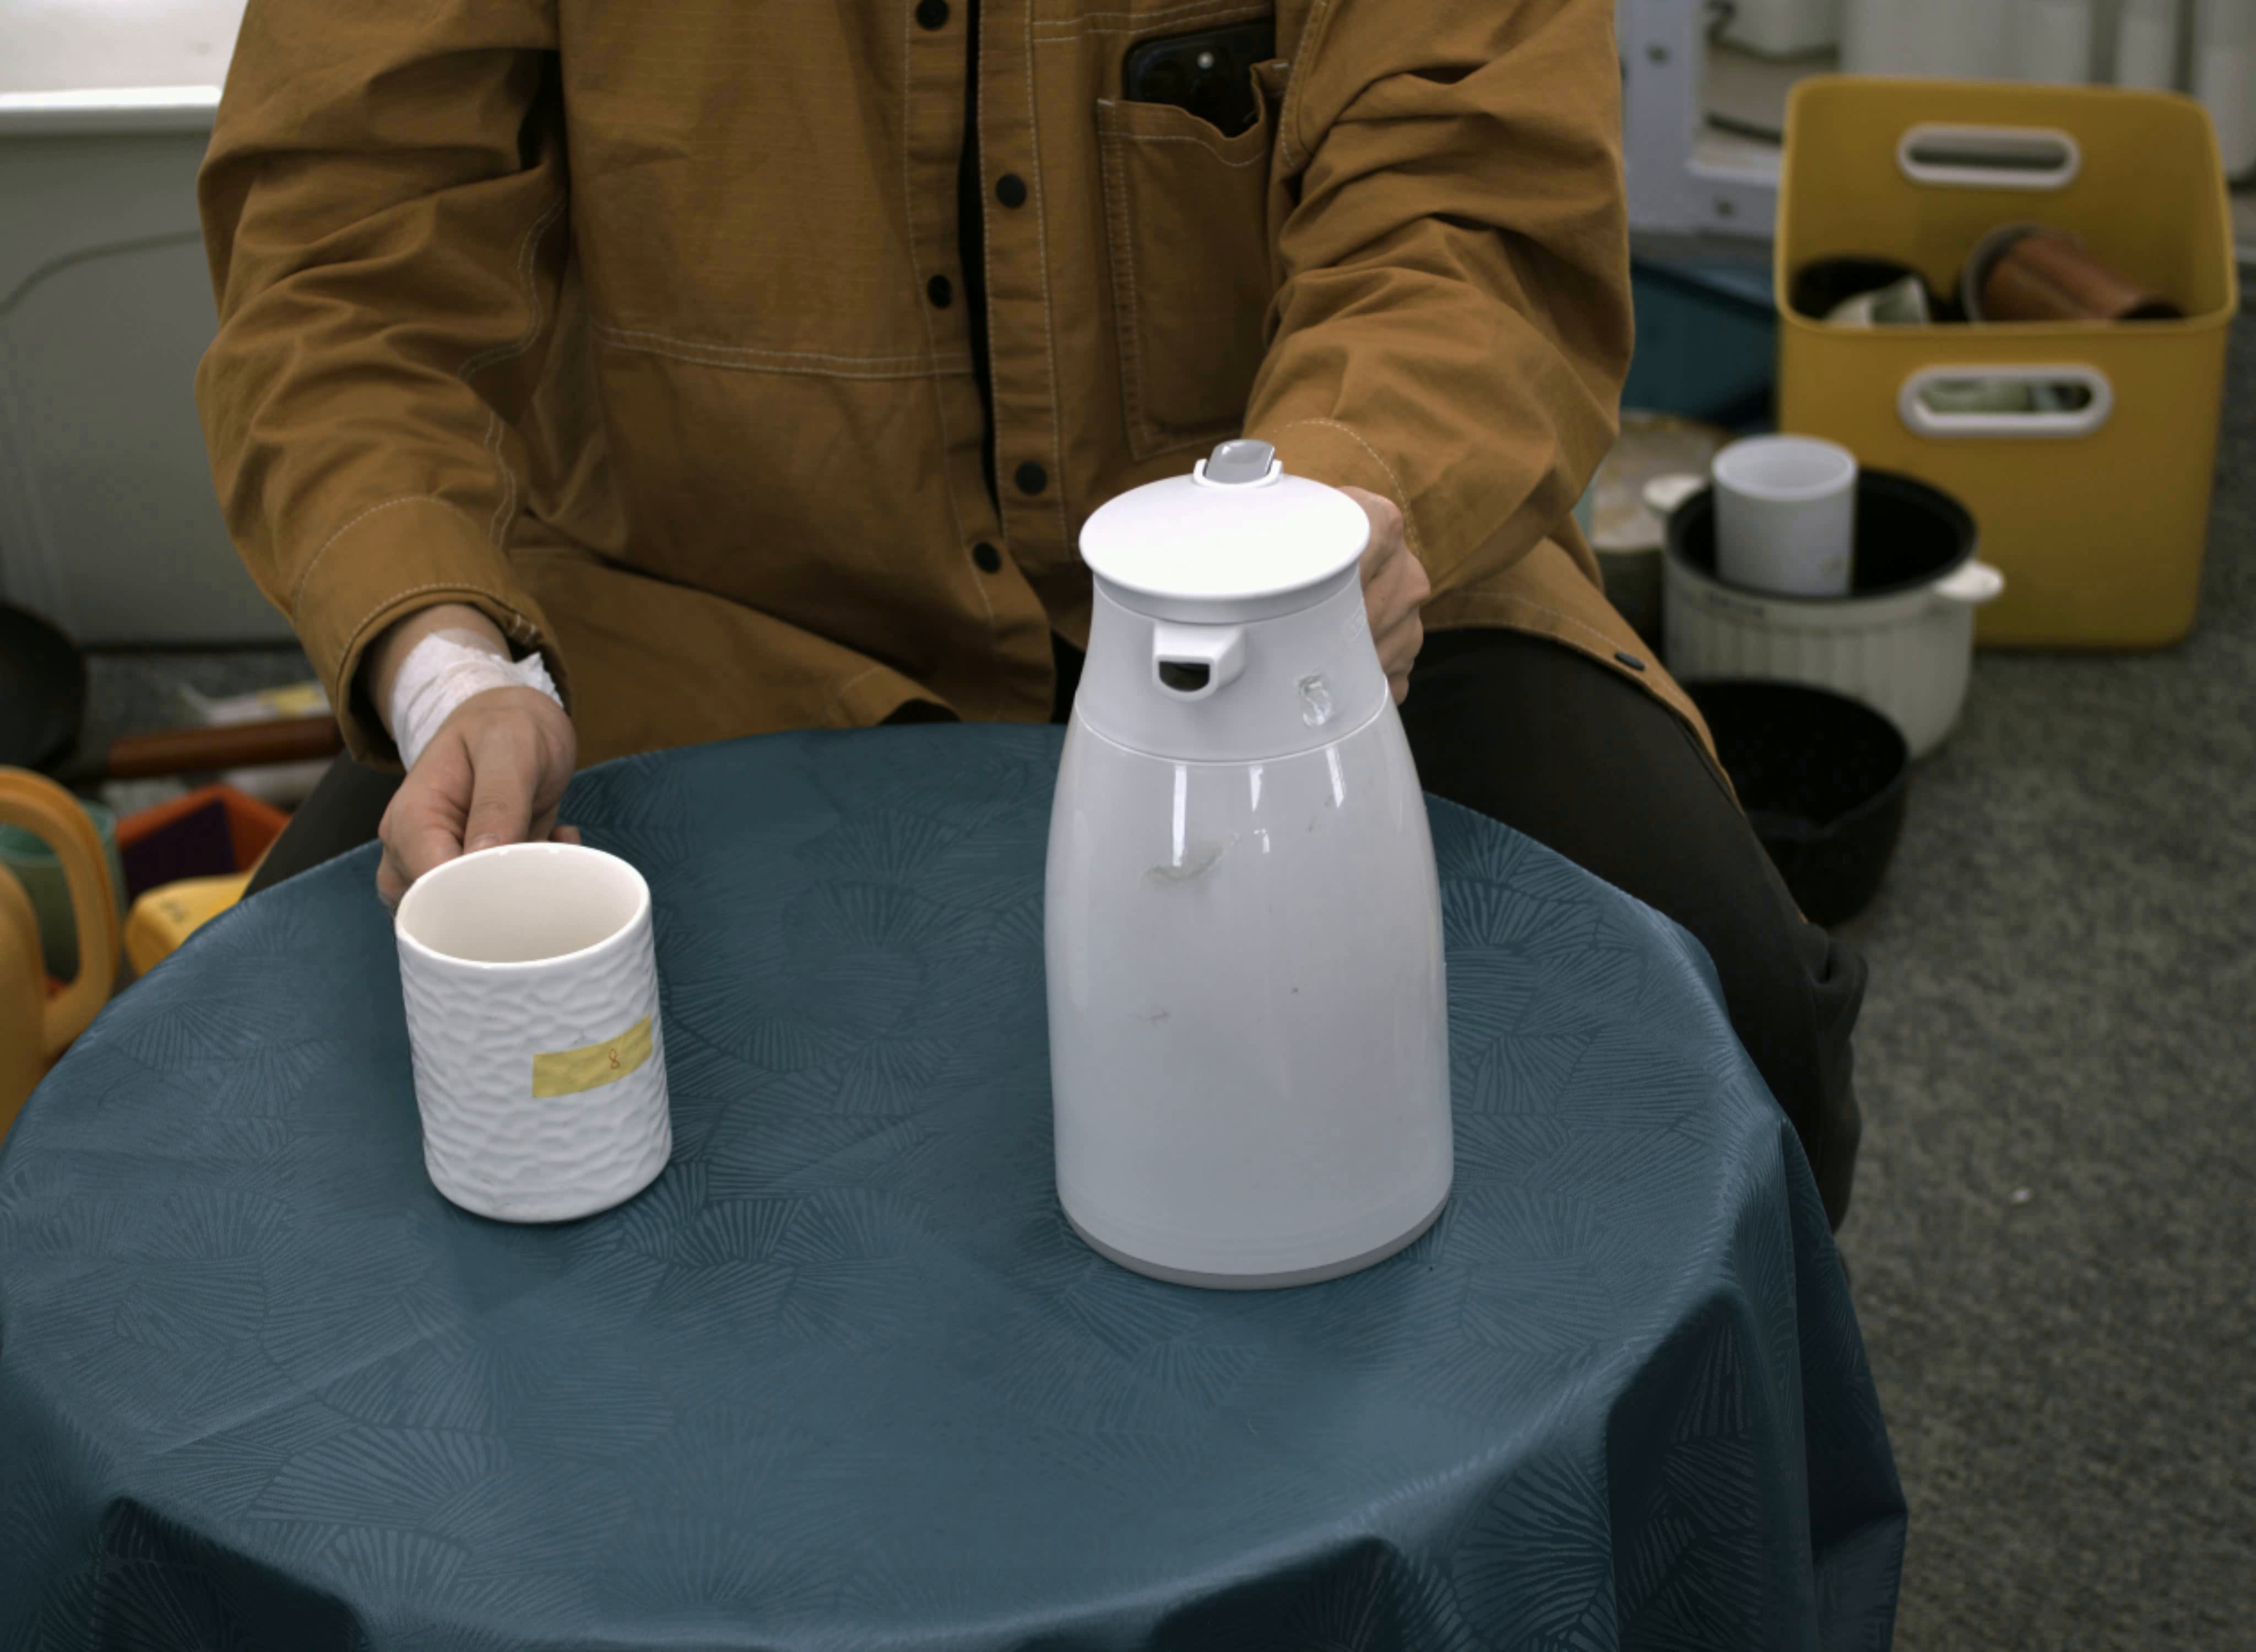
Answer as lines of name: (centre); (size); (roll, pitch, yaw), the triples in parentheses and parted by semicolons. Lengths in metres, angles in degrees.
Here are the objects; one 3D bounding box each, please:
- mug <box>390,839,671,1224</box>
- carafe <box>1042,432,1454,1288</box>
mug: (-0.202, 0.063, 1.881); (0.085, 0.101, 0.119); (-11, 28, -14)
carafe: (0.038, 0.000, 1.823); (0.131, 0.246, 0.170); (2, 26, 11)
